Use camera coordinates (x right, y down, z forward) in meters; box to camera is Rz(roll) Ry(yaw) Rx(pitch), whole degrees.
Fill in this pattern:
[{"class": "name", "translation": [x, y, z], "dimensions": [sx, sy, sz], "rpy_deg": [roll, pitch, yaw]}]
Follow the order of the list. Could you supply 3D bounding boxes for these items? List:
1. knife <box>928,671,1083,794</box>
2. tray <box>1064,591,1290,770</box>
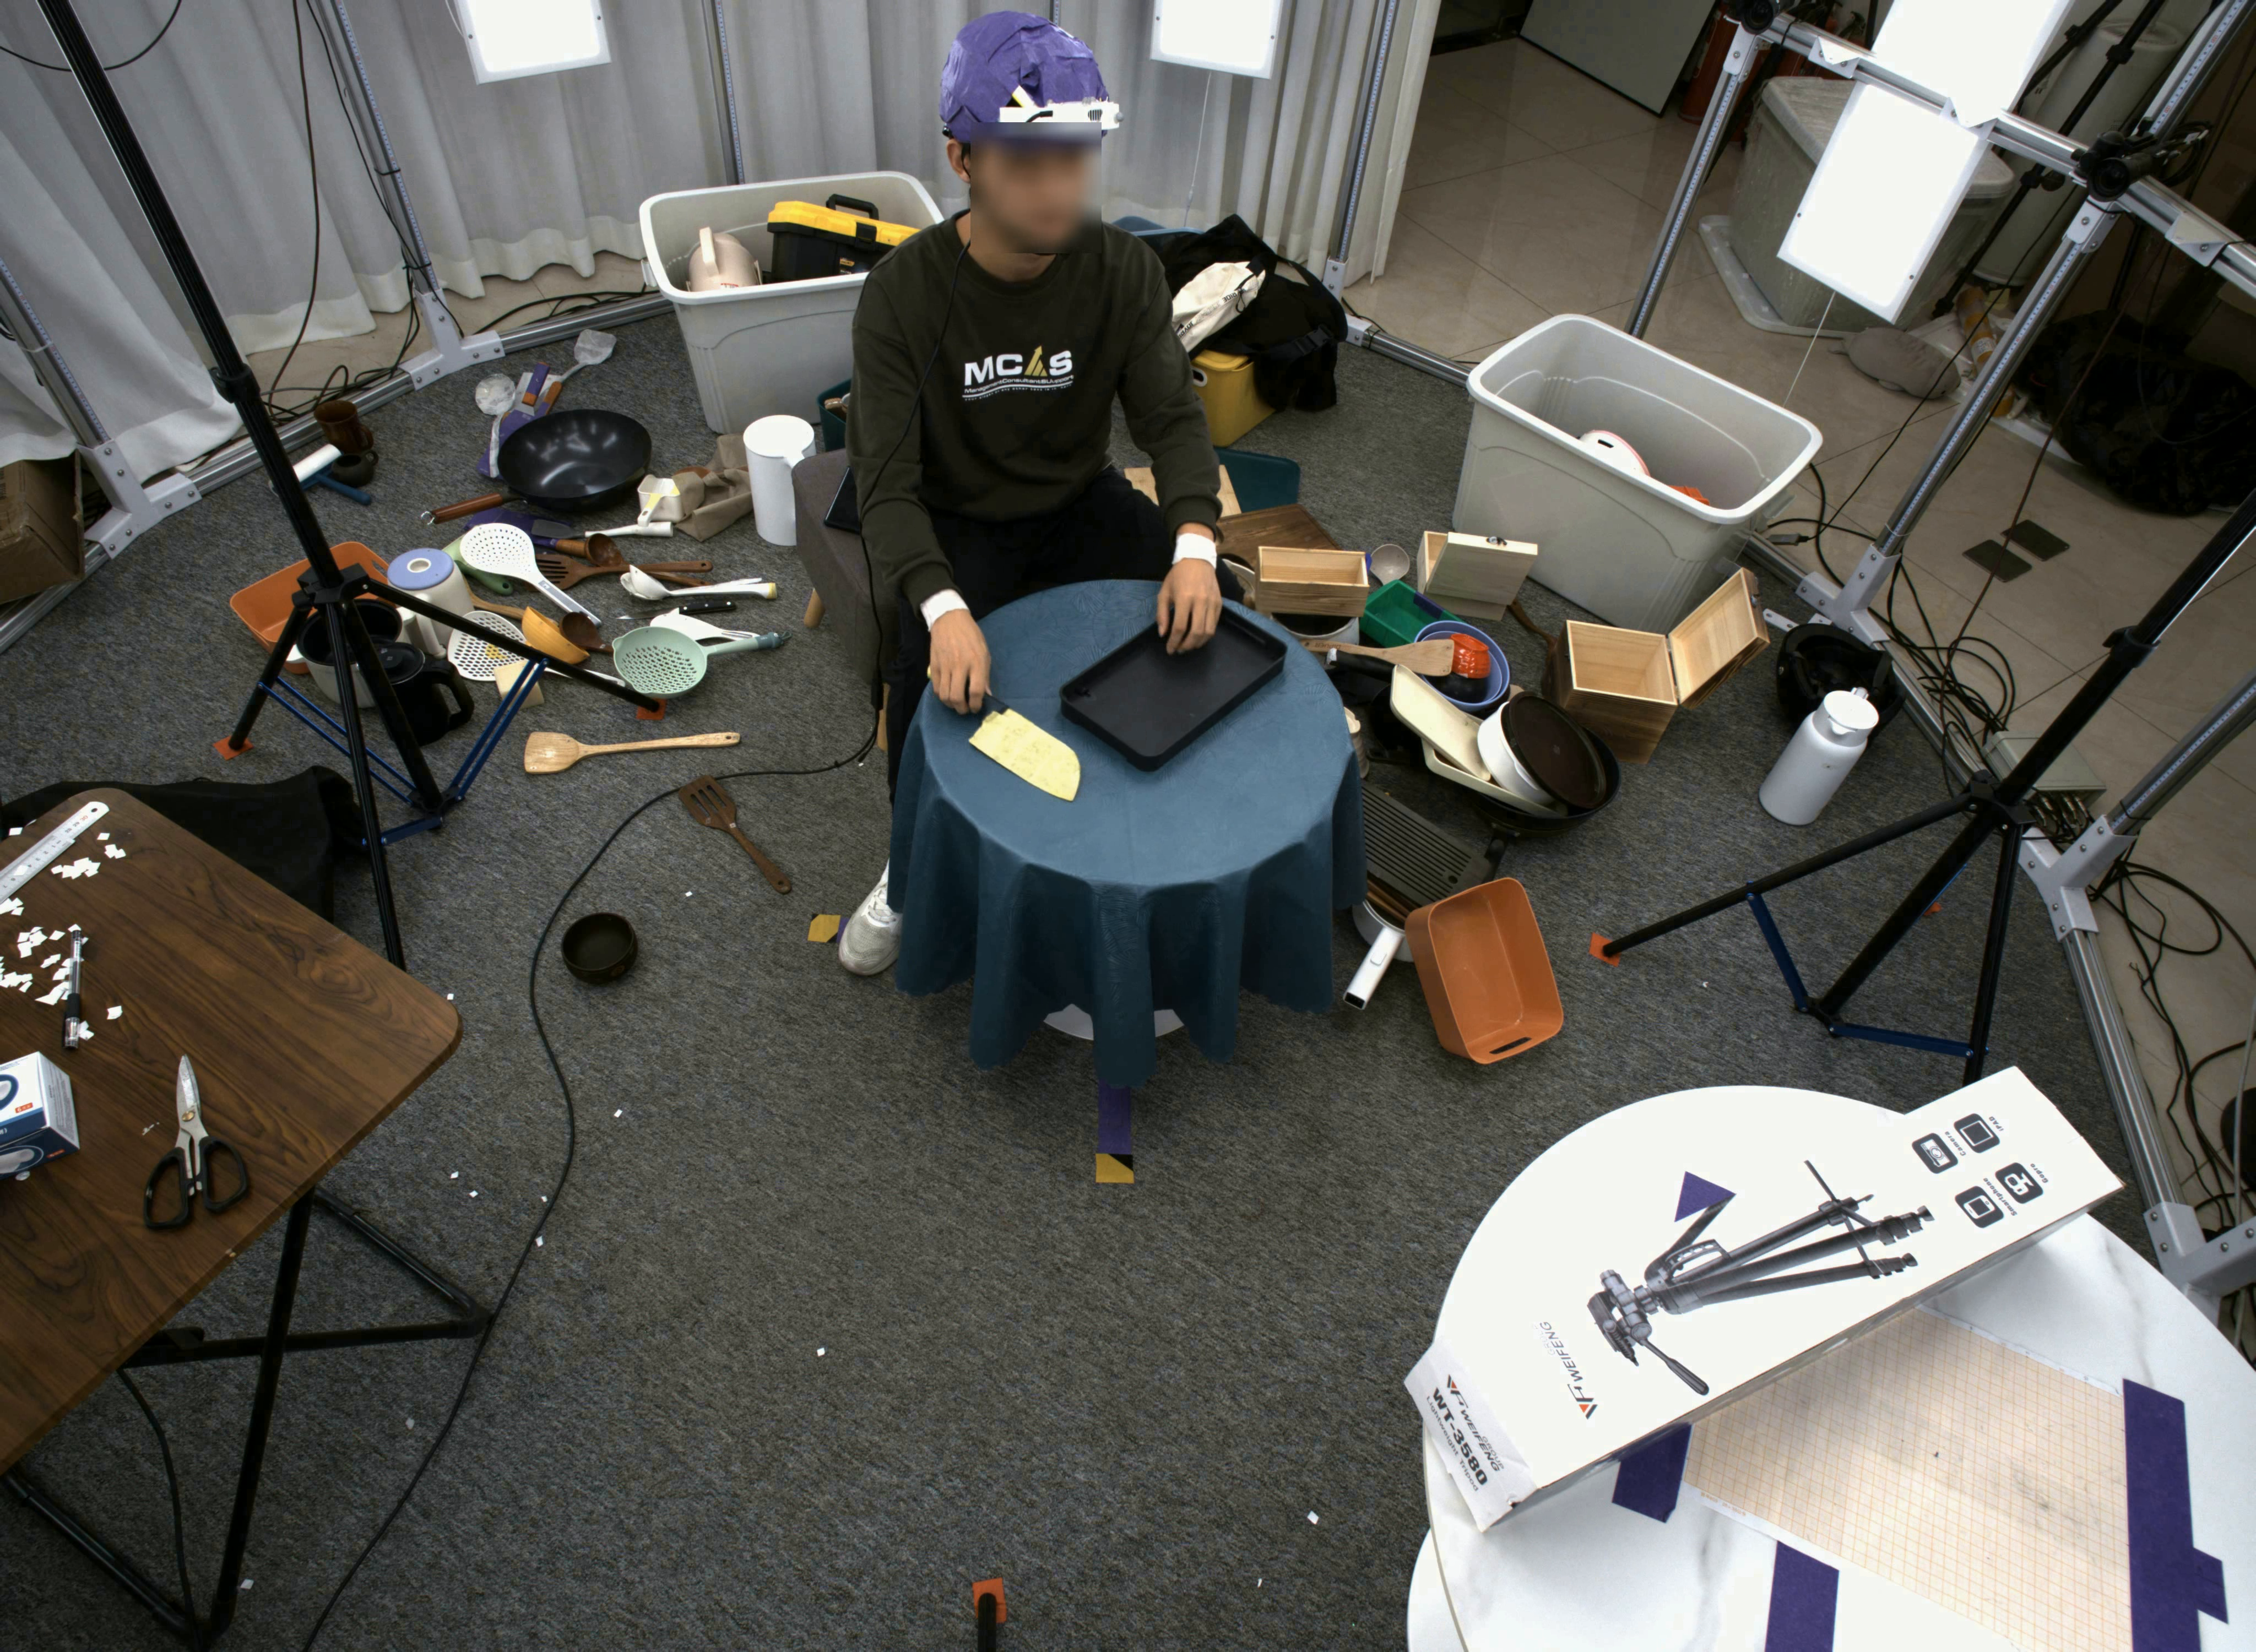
[{"class": "knife", "translation": [-0.173, -0.128, 1.749], "dimensions": [0.293, 0.026, 0.082], "rpy_deg": [35, 70, 23]}, {"class": "tray", "translation": [0.072, -0.215, 1.834], "dimensions": [0.187, 0.036, 0.321], "rpy_deg": [34, 55, 23]}]
